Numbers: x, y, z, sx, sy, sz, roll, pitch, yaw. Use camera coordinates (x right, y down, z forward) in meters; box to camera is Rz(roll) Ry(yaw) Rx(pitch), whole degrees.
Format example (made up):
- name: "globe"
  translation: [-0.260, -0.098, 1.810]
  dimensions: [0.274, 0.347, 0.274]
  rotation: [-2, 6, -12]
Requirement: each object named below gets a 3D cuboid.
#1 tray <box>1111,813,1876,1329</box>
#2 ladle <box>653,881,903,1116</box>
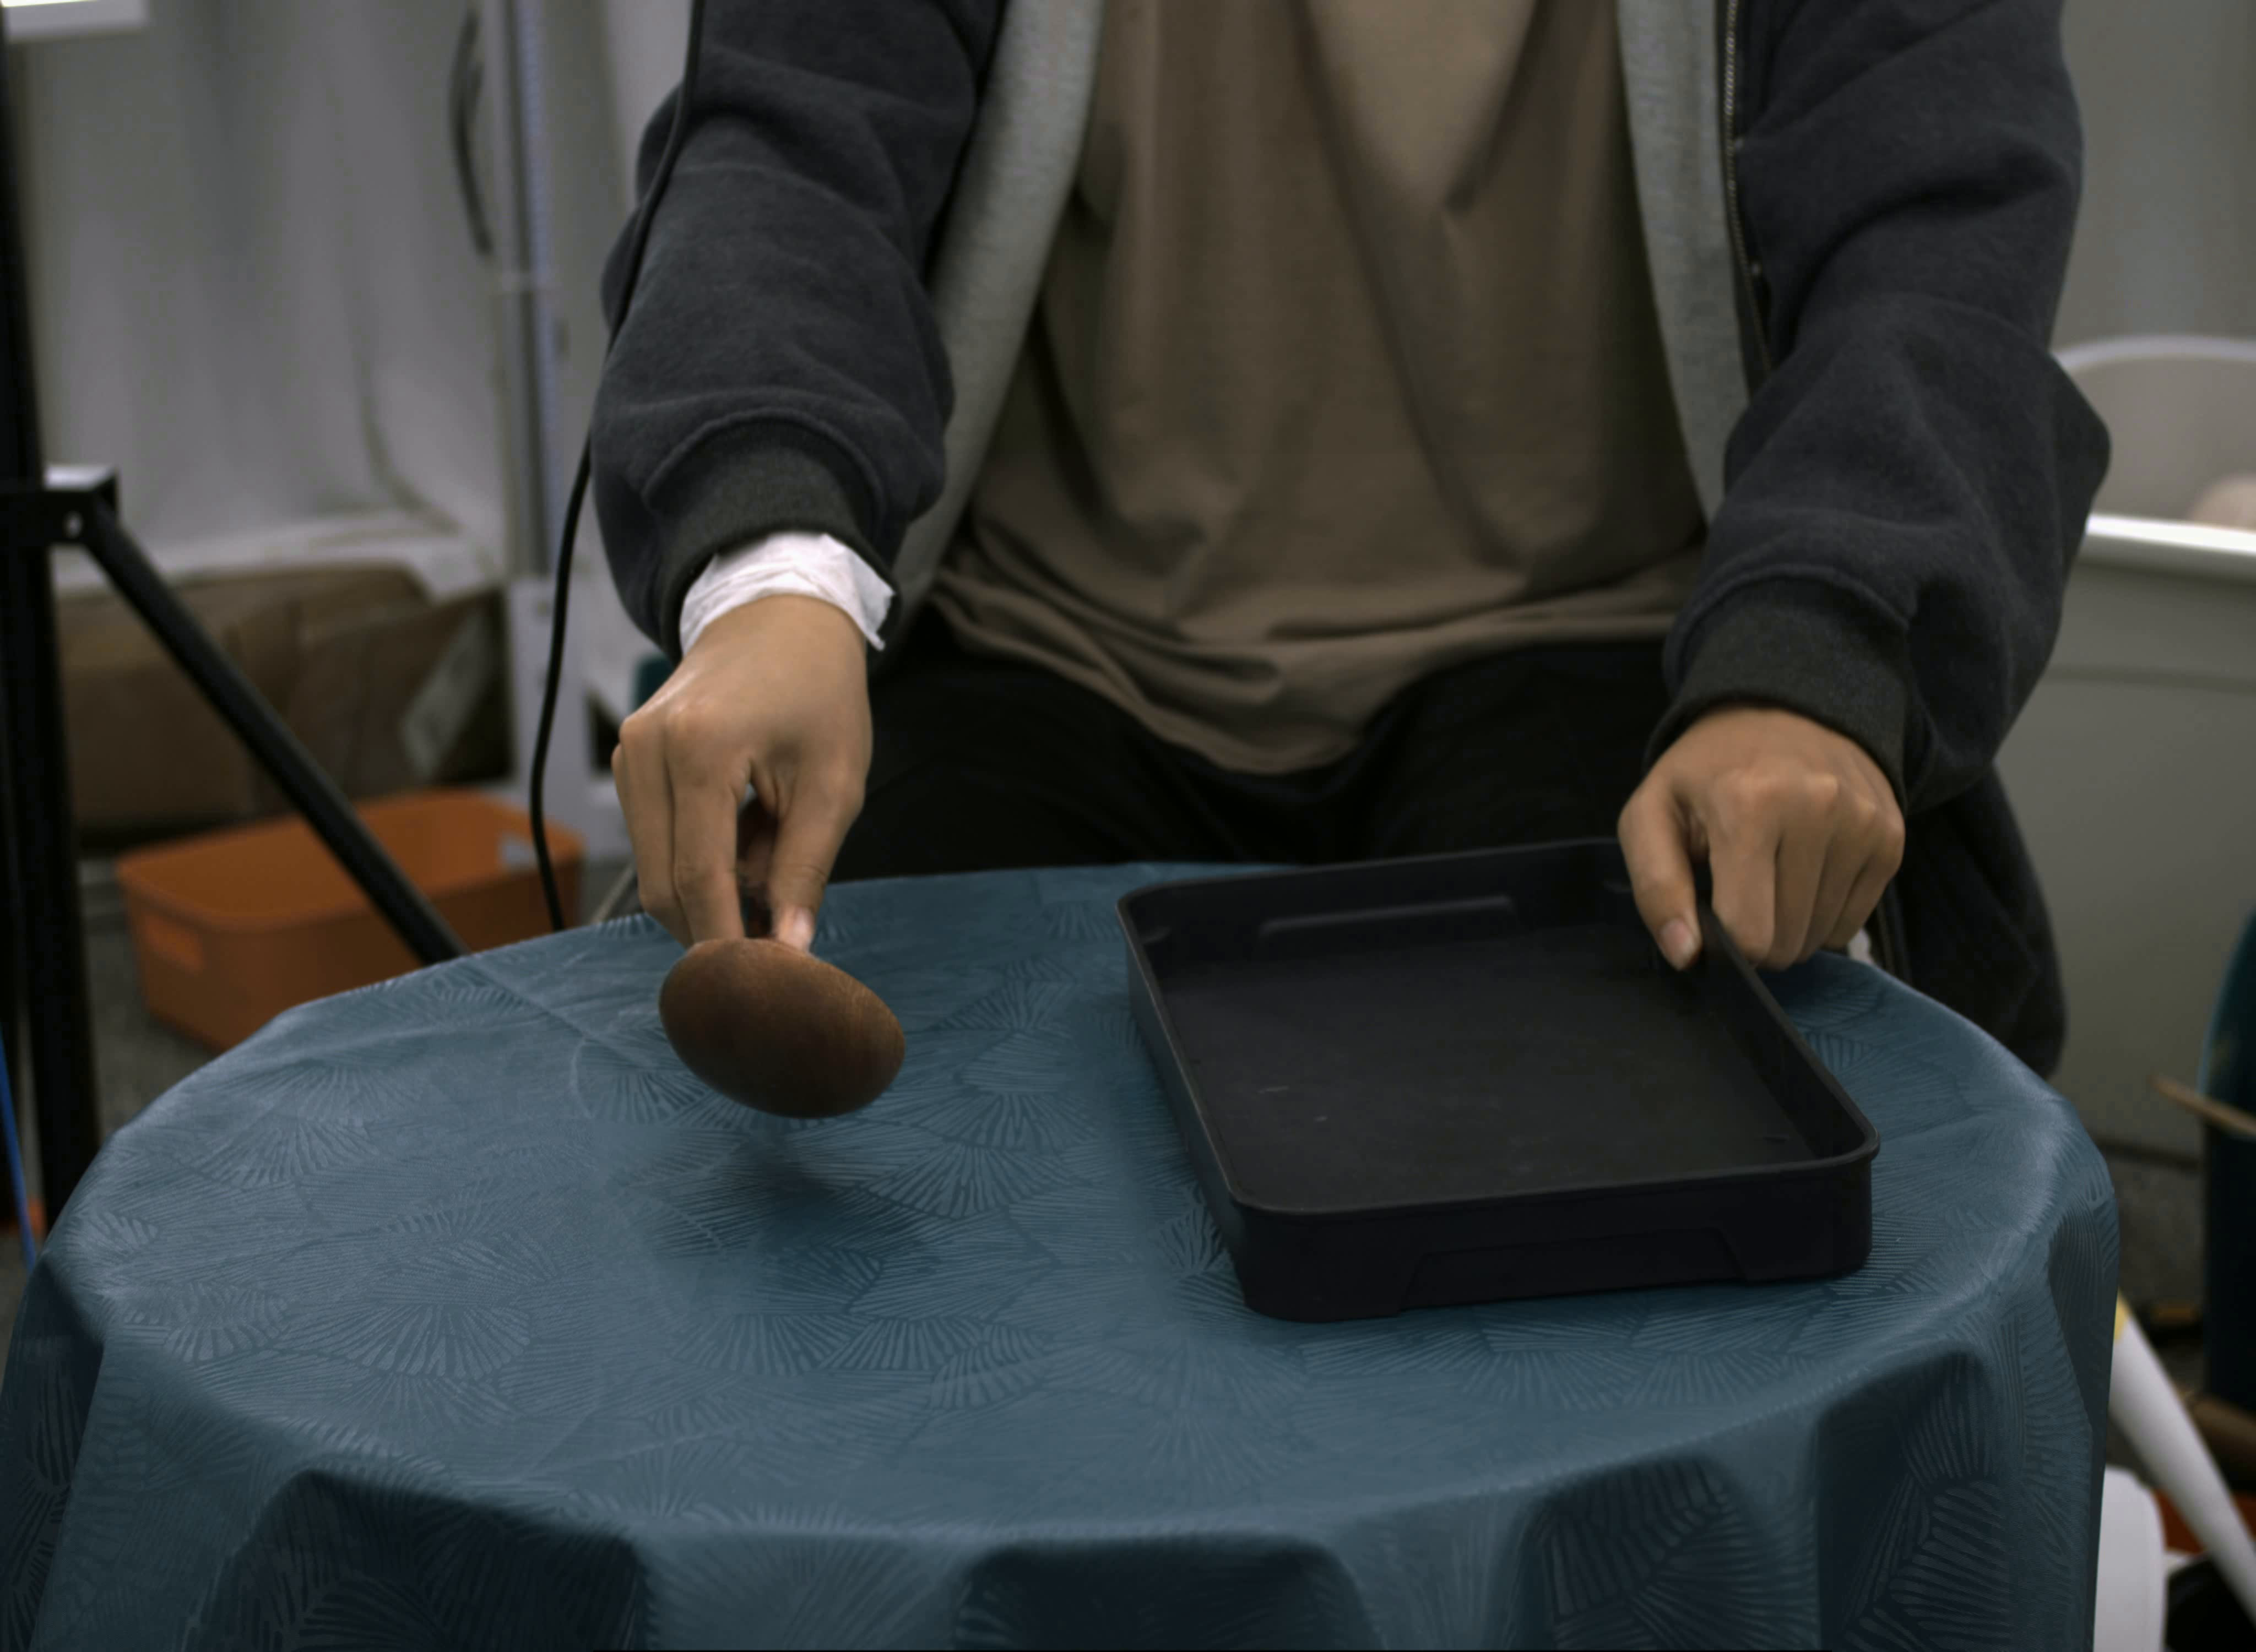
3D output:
- name: "tray"
  translation: [0.102, 0.068, 1.598]
  dimensions: [0.183, 0.037, 0.321]
  rotation: [-6, 18, -4]
- name: "ladle"
  translation: [-0.108, 0.037, 1.655]
  dimensions: [0.076, 0.065, 0.261]
  rotation: [27, 10, -8]
